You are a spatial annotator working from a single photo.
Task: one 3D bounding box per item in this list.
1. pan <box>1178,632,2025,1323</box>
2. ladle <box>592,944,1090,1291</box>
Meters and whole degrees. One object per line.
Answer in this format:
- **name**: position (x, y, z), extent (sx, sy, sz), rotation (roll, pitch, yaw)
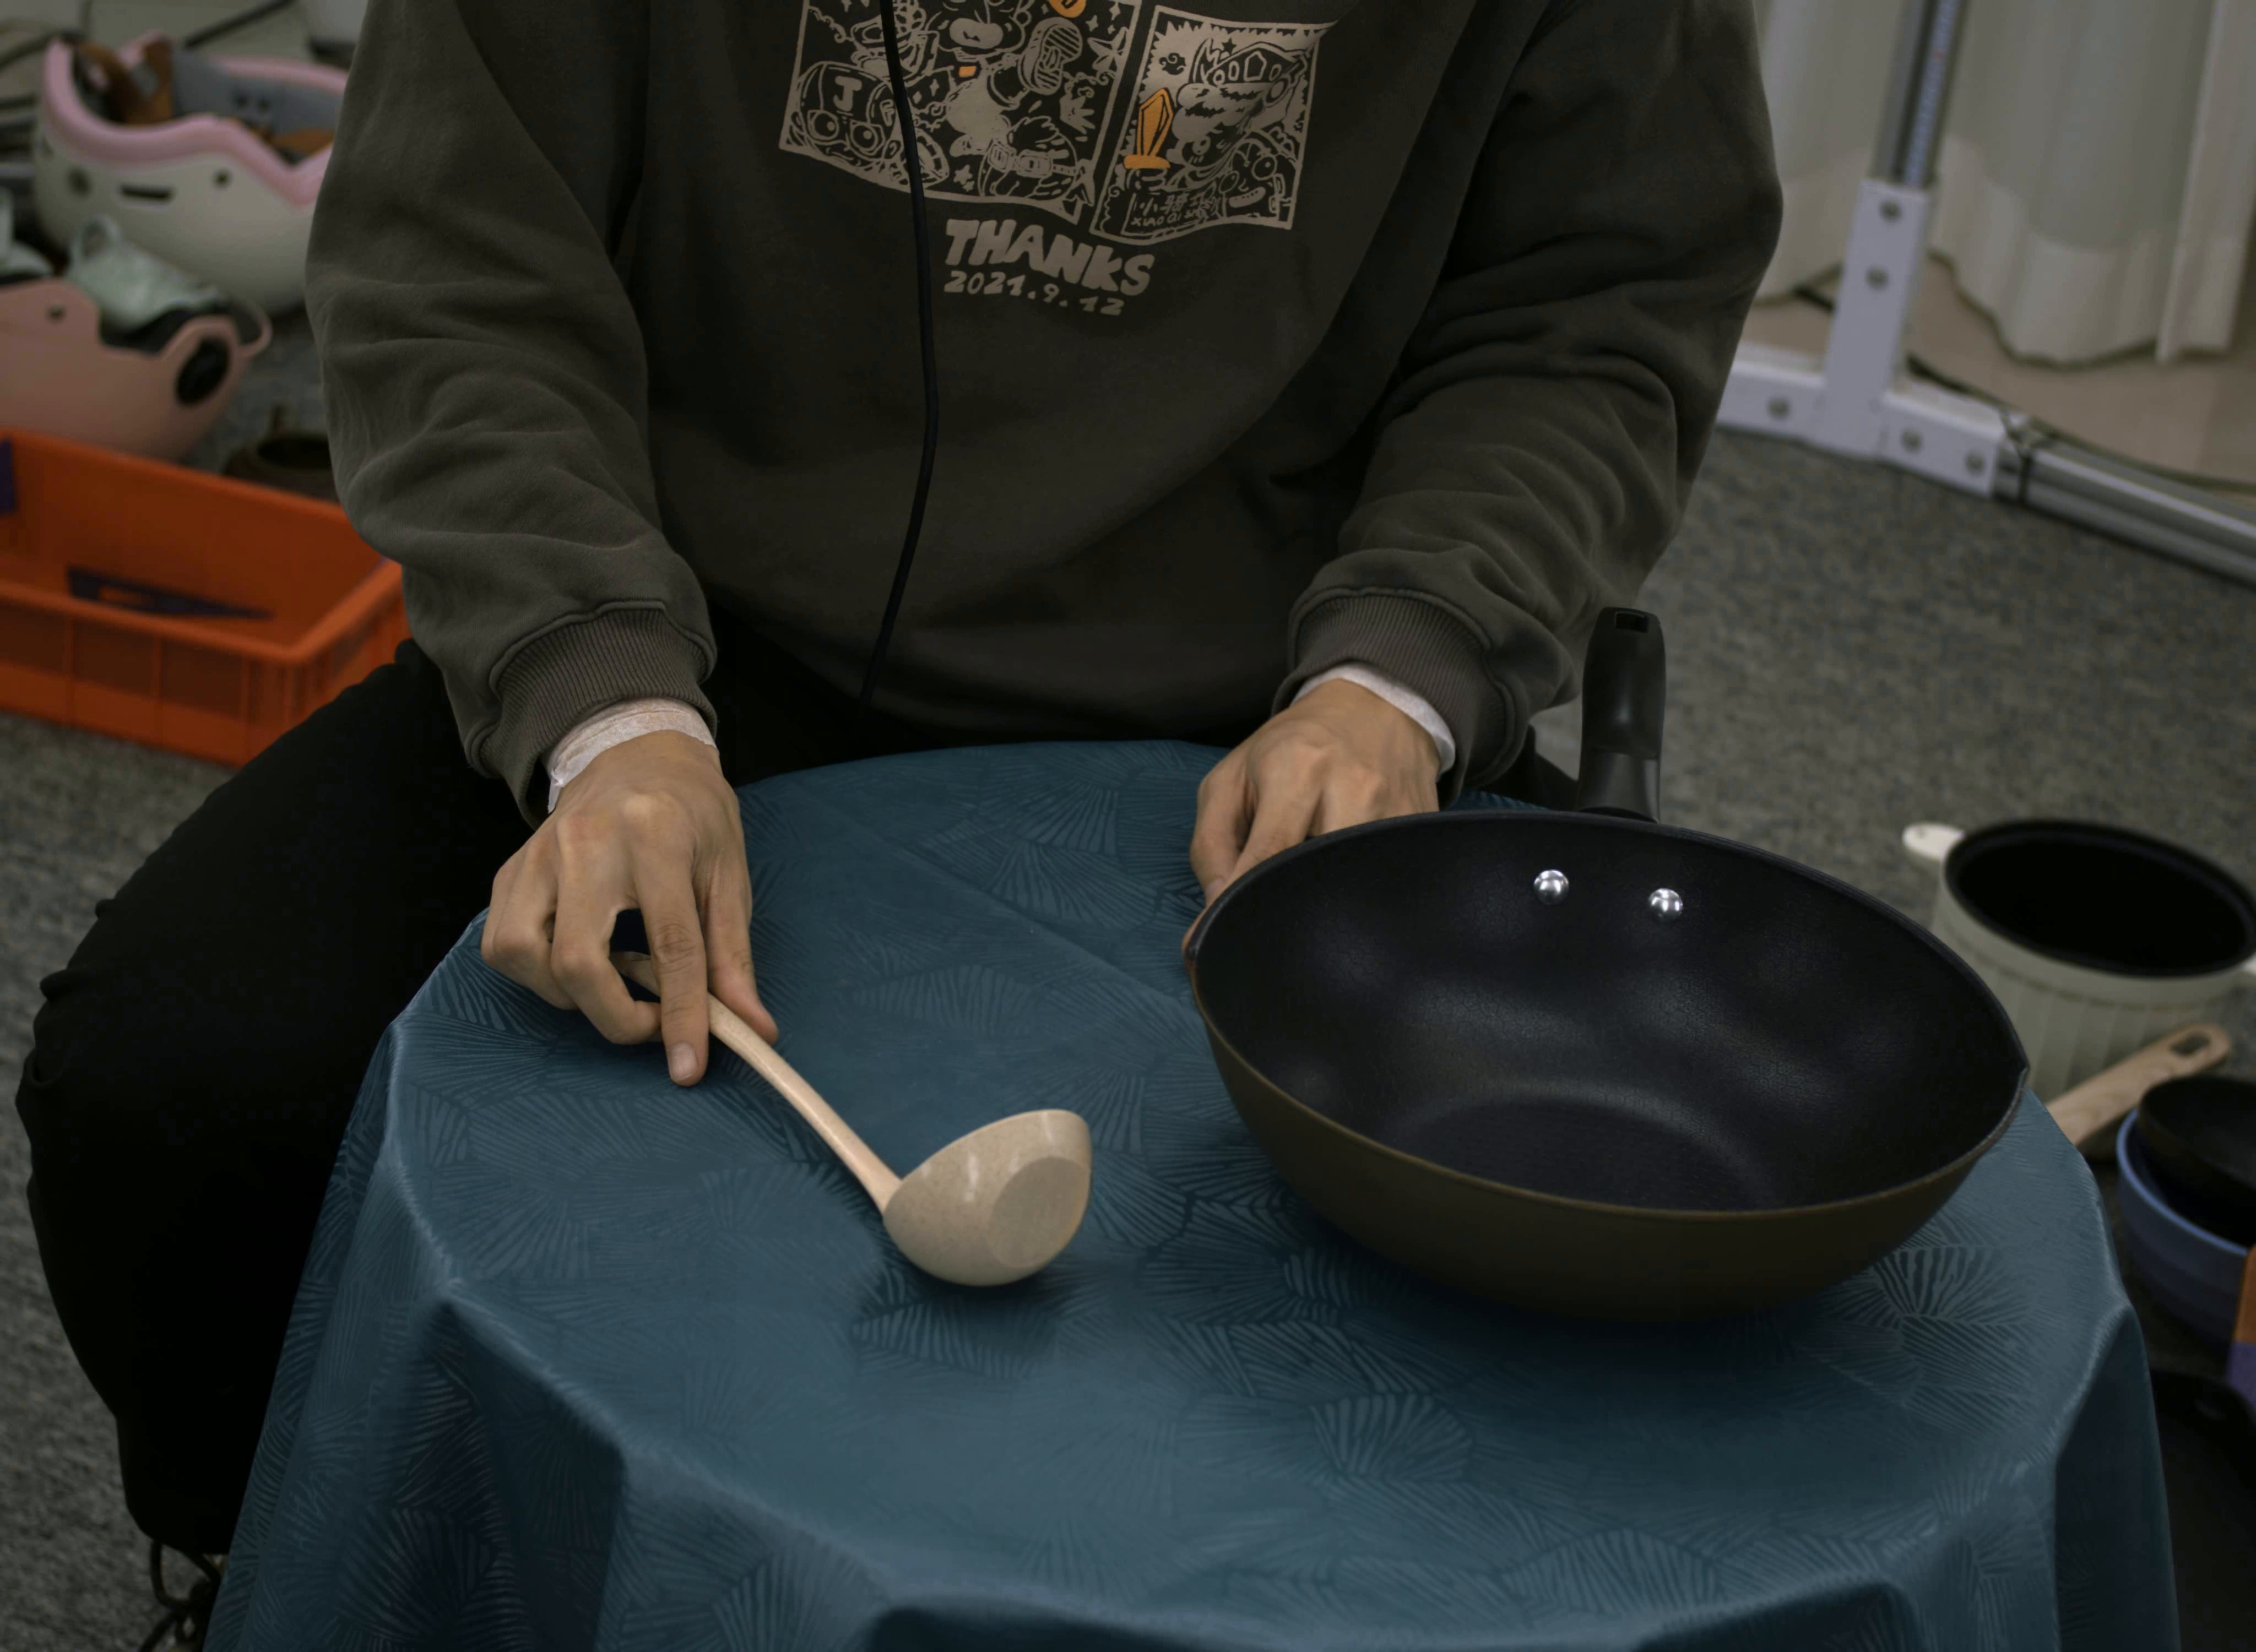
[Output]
- **pan**: position (0.165, 0.054, 1.889), extent (0.287, 0.086, 0.465), rotation (8, 26, 4)
- **ladle**: position (-0.105, 0.071, 1.796), extent (0.071, 0.072, 0.257), rotation (-8, 32, -38)
